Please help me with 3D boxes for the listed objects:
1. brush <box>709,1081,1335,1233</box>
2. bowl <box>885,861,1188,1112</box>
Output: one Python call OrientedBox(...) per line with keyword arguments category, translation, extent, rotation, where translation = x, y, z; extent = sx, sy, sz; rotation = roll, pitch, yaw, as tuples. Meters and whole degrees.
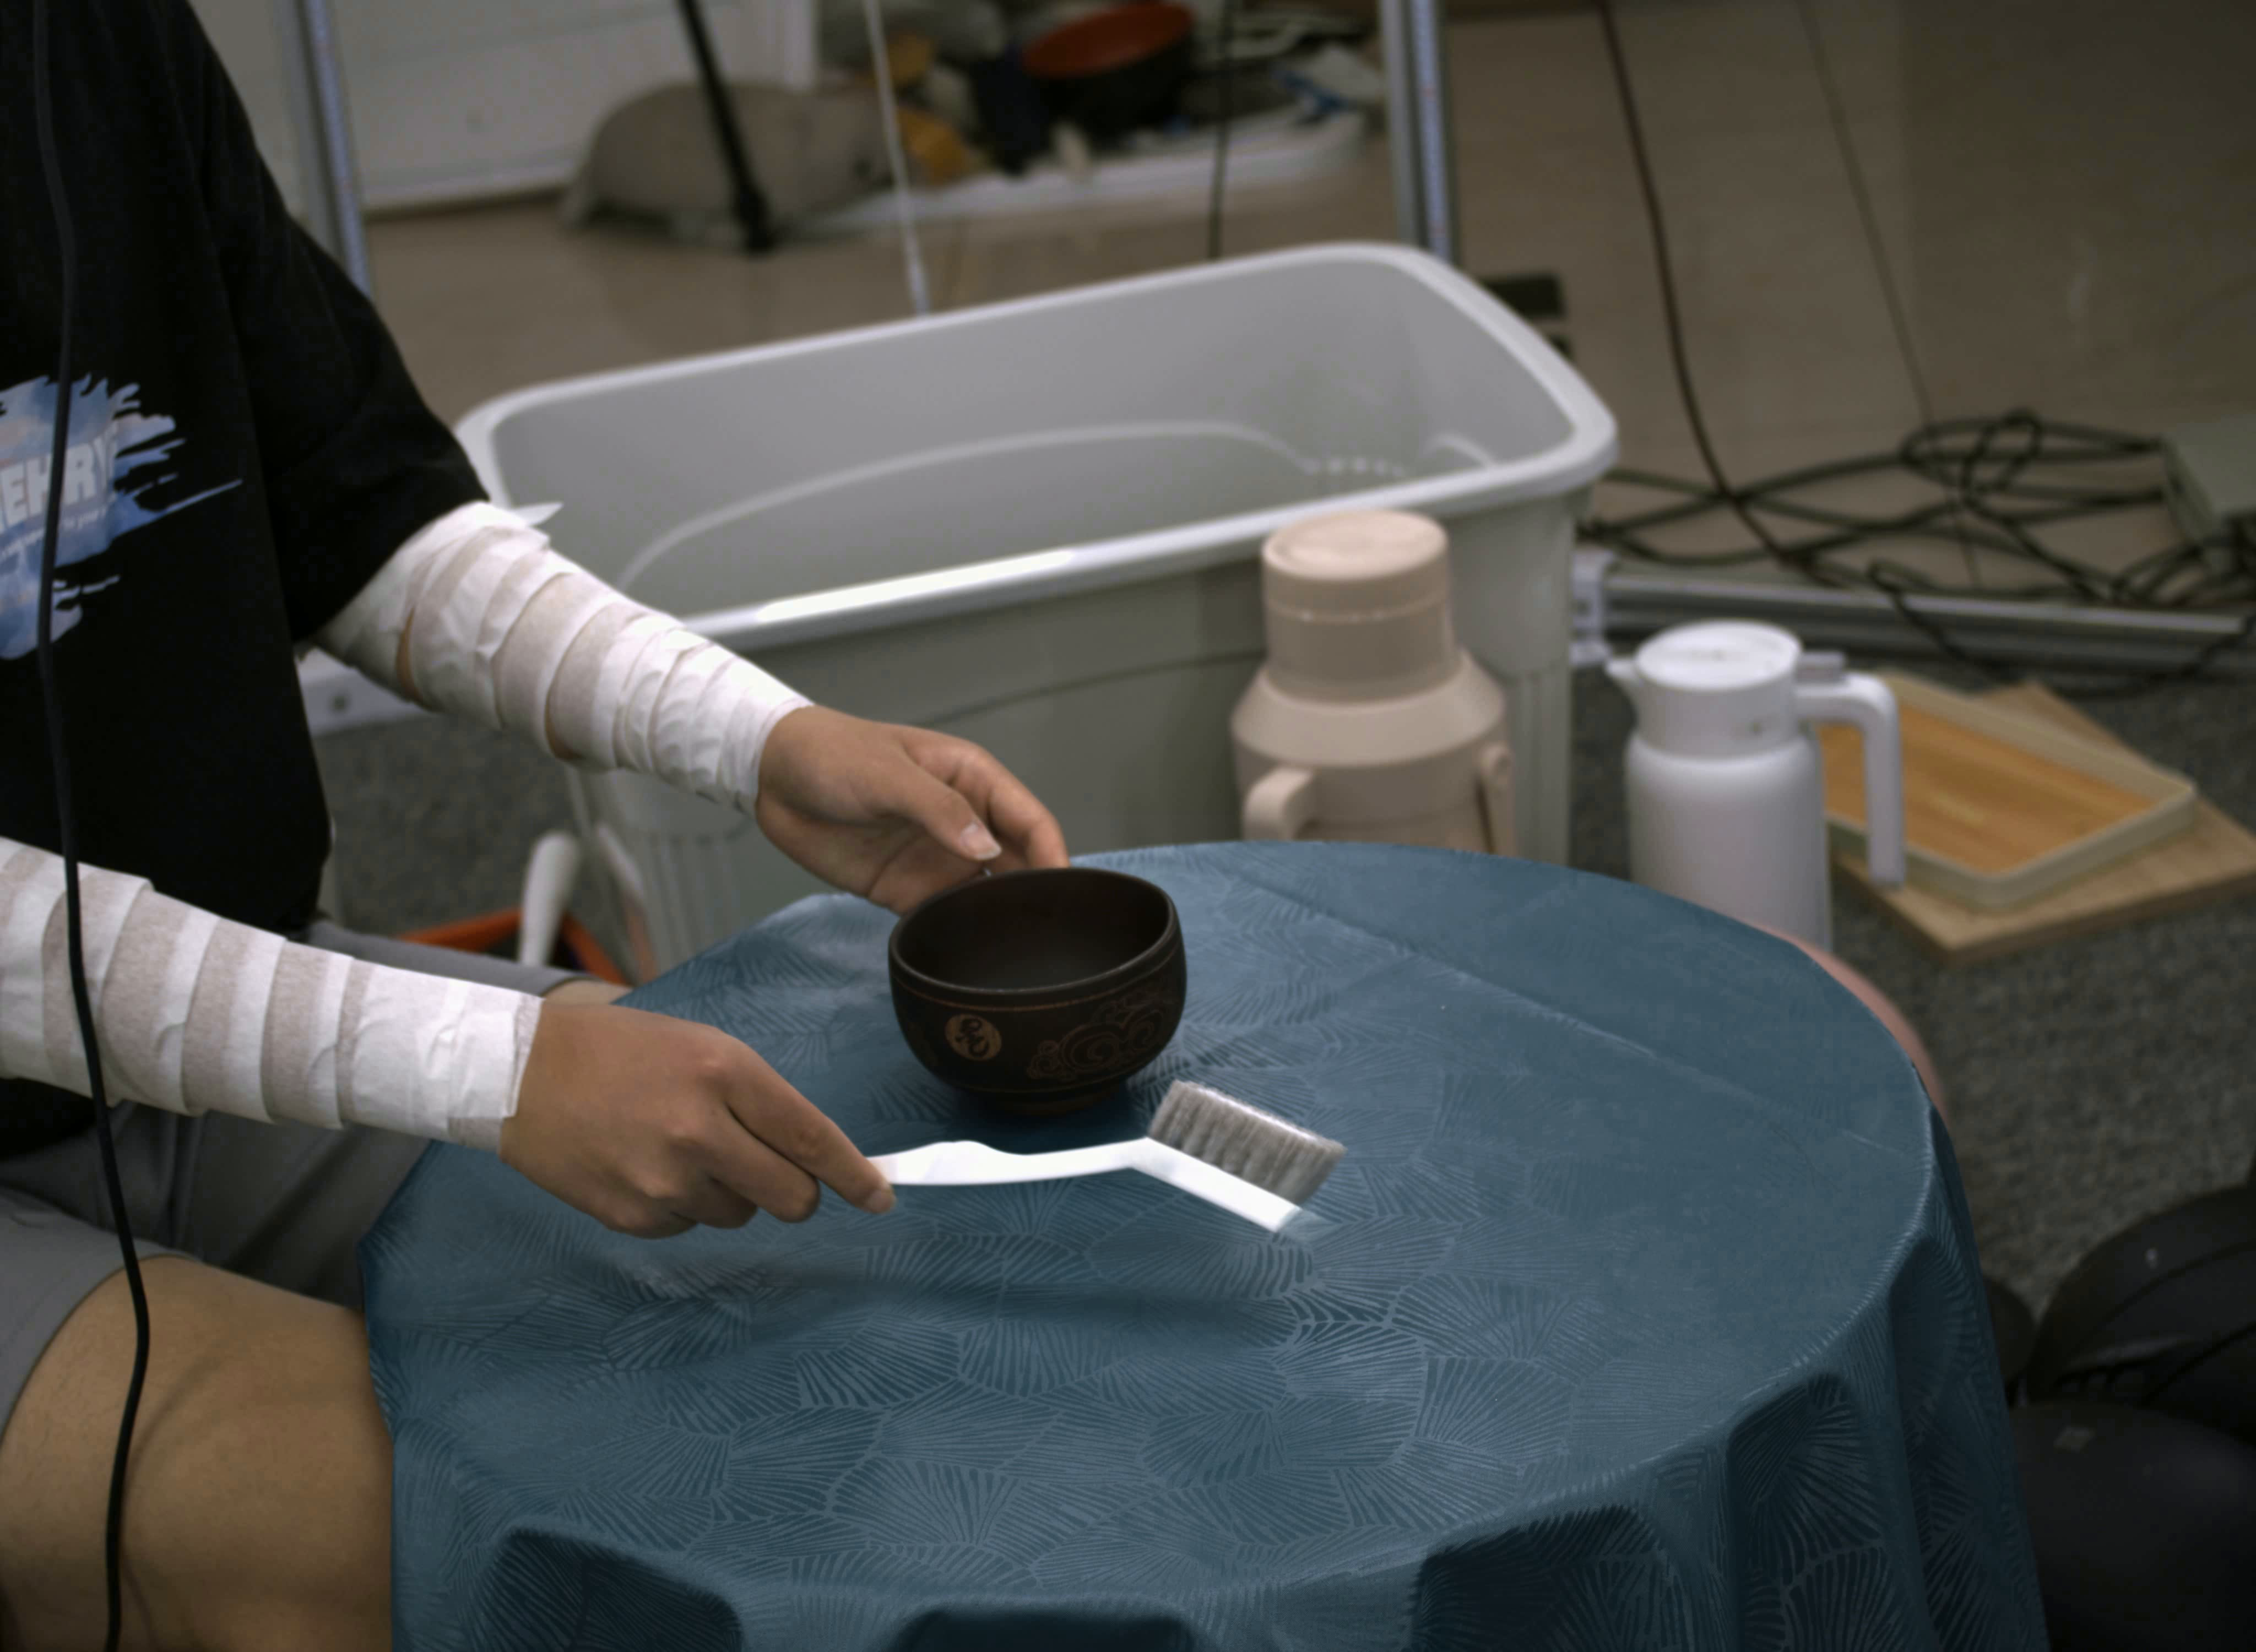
OrientedBox(category="brush", translation=(-0.042, 0.111, 2.083), extent=(0.243, 0.050, 0.034), rotation=(6, 1, 22))
OrientedBox(category="bowl", translation=(-0.033, 0.069, 2.220), extent=(0.118, 0.071, 0.116), rotation=(-7, 25, 4))
